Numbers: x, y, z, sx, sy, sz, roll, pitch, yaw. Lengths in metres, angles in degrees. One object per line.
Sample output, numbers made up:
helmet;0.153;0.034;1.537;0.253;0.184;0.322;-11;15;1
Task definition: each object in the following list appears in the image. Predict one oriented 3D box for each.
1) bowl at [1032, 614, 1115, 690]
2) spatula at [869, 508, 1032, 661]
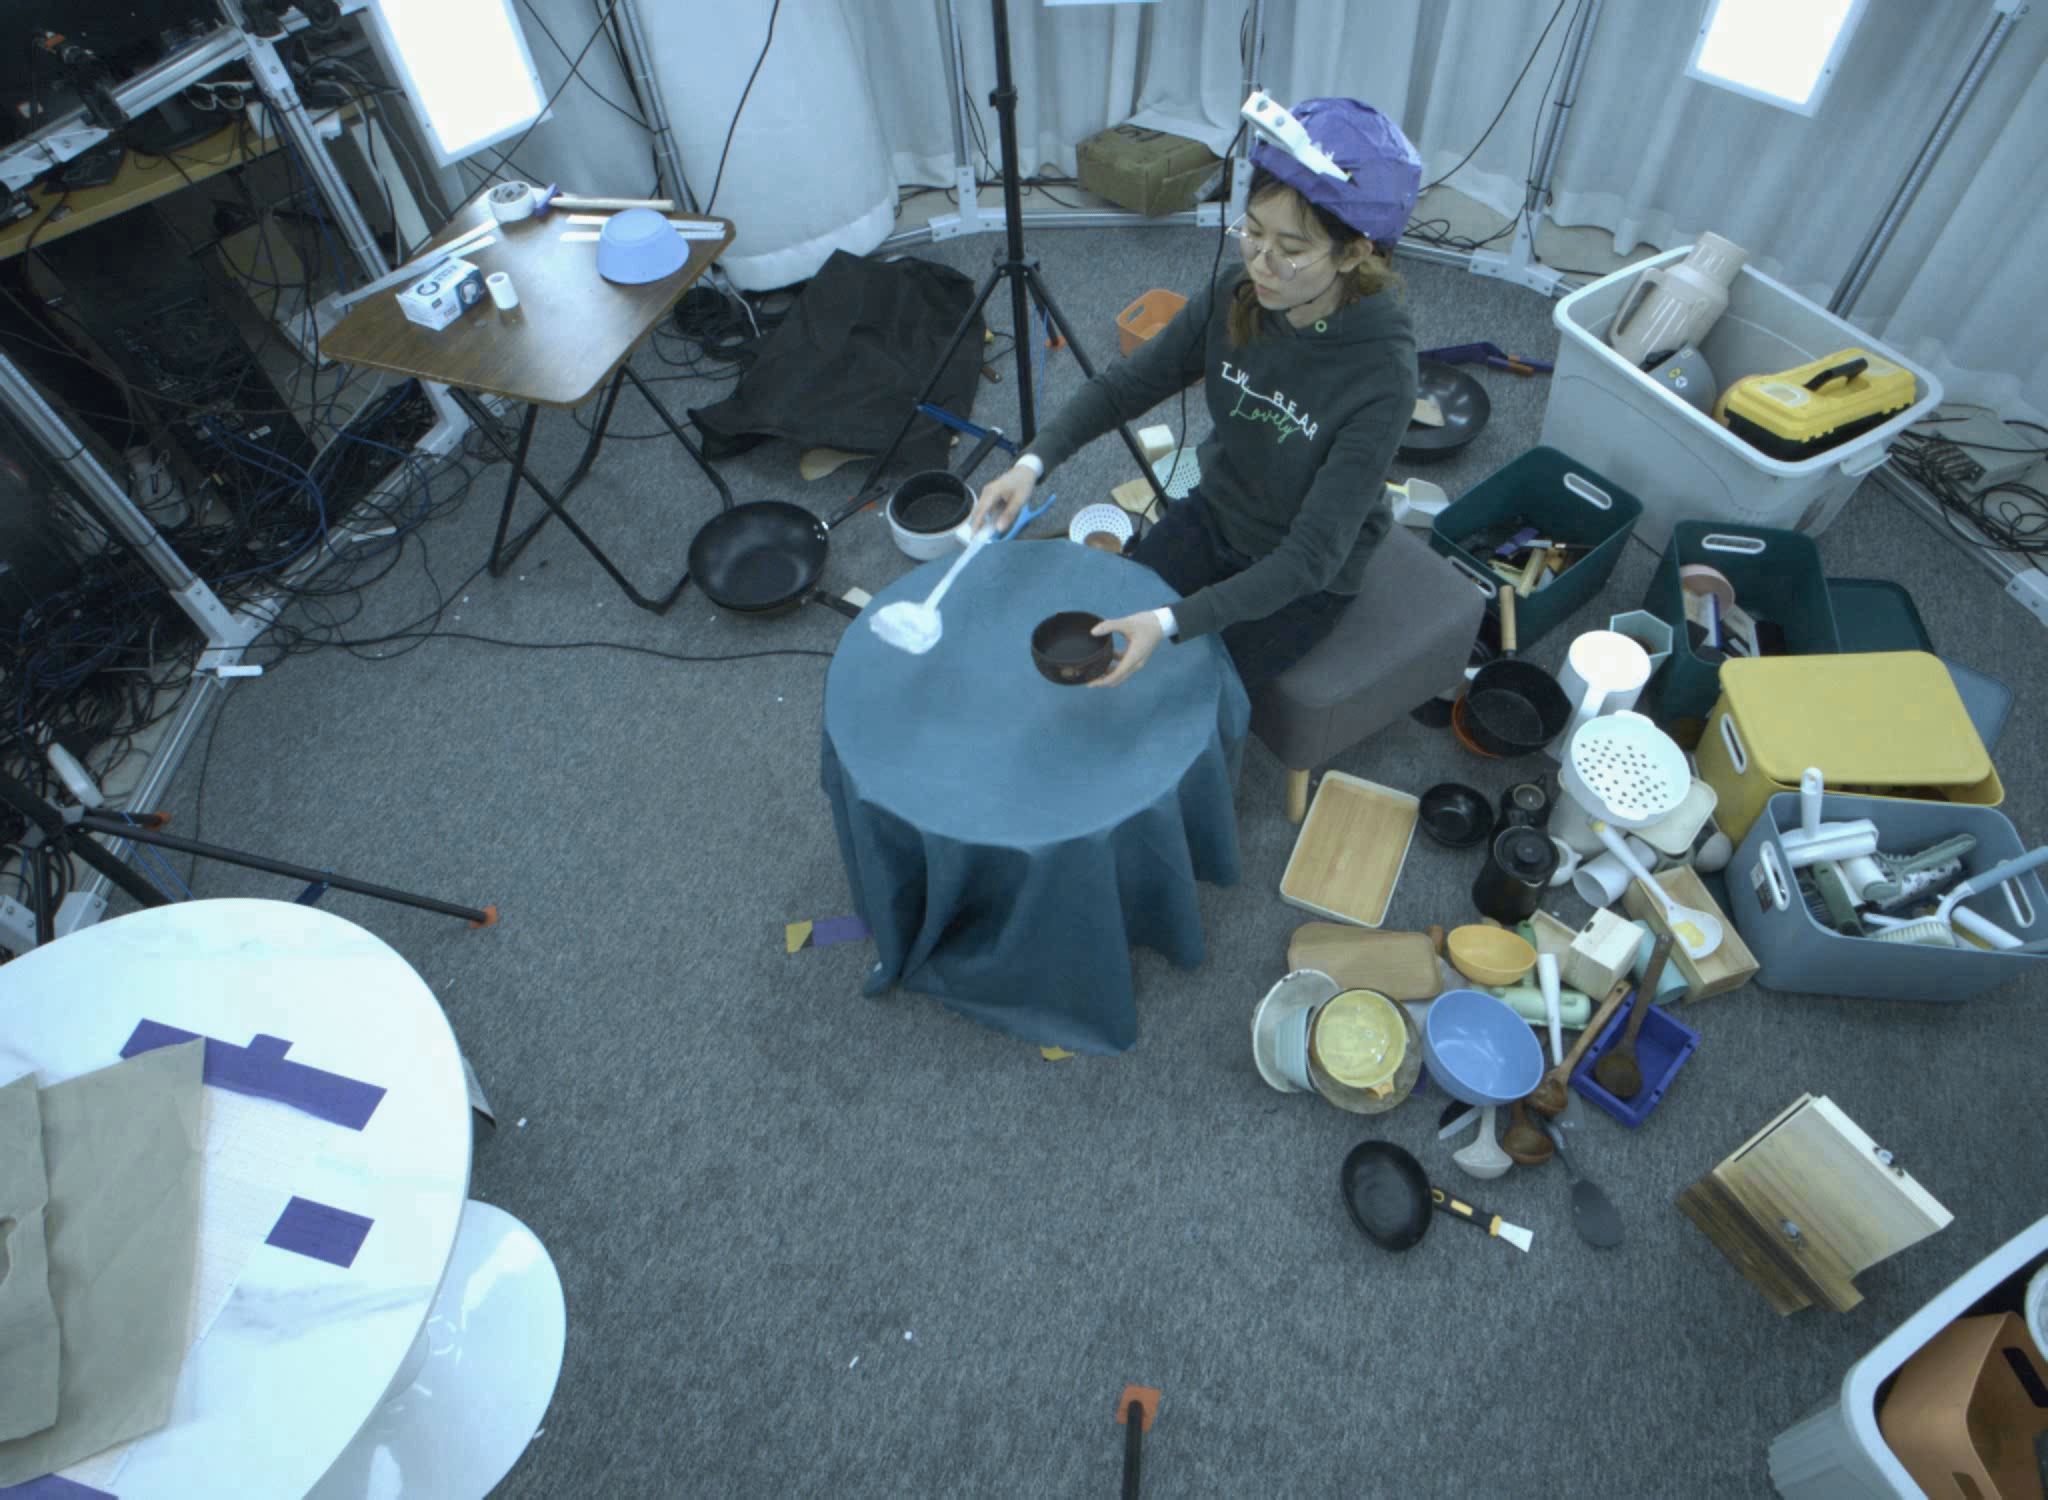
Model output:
bowl;0.071;-0.130;1.744;0.118;0.071;0.117;-2;47;3
spatula;-0.094;-0.265;1.836;0.098;0.045;0.366;32;64;9
